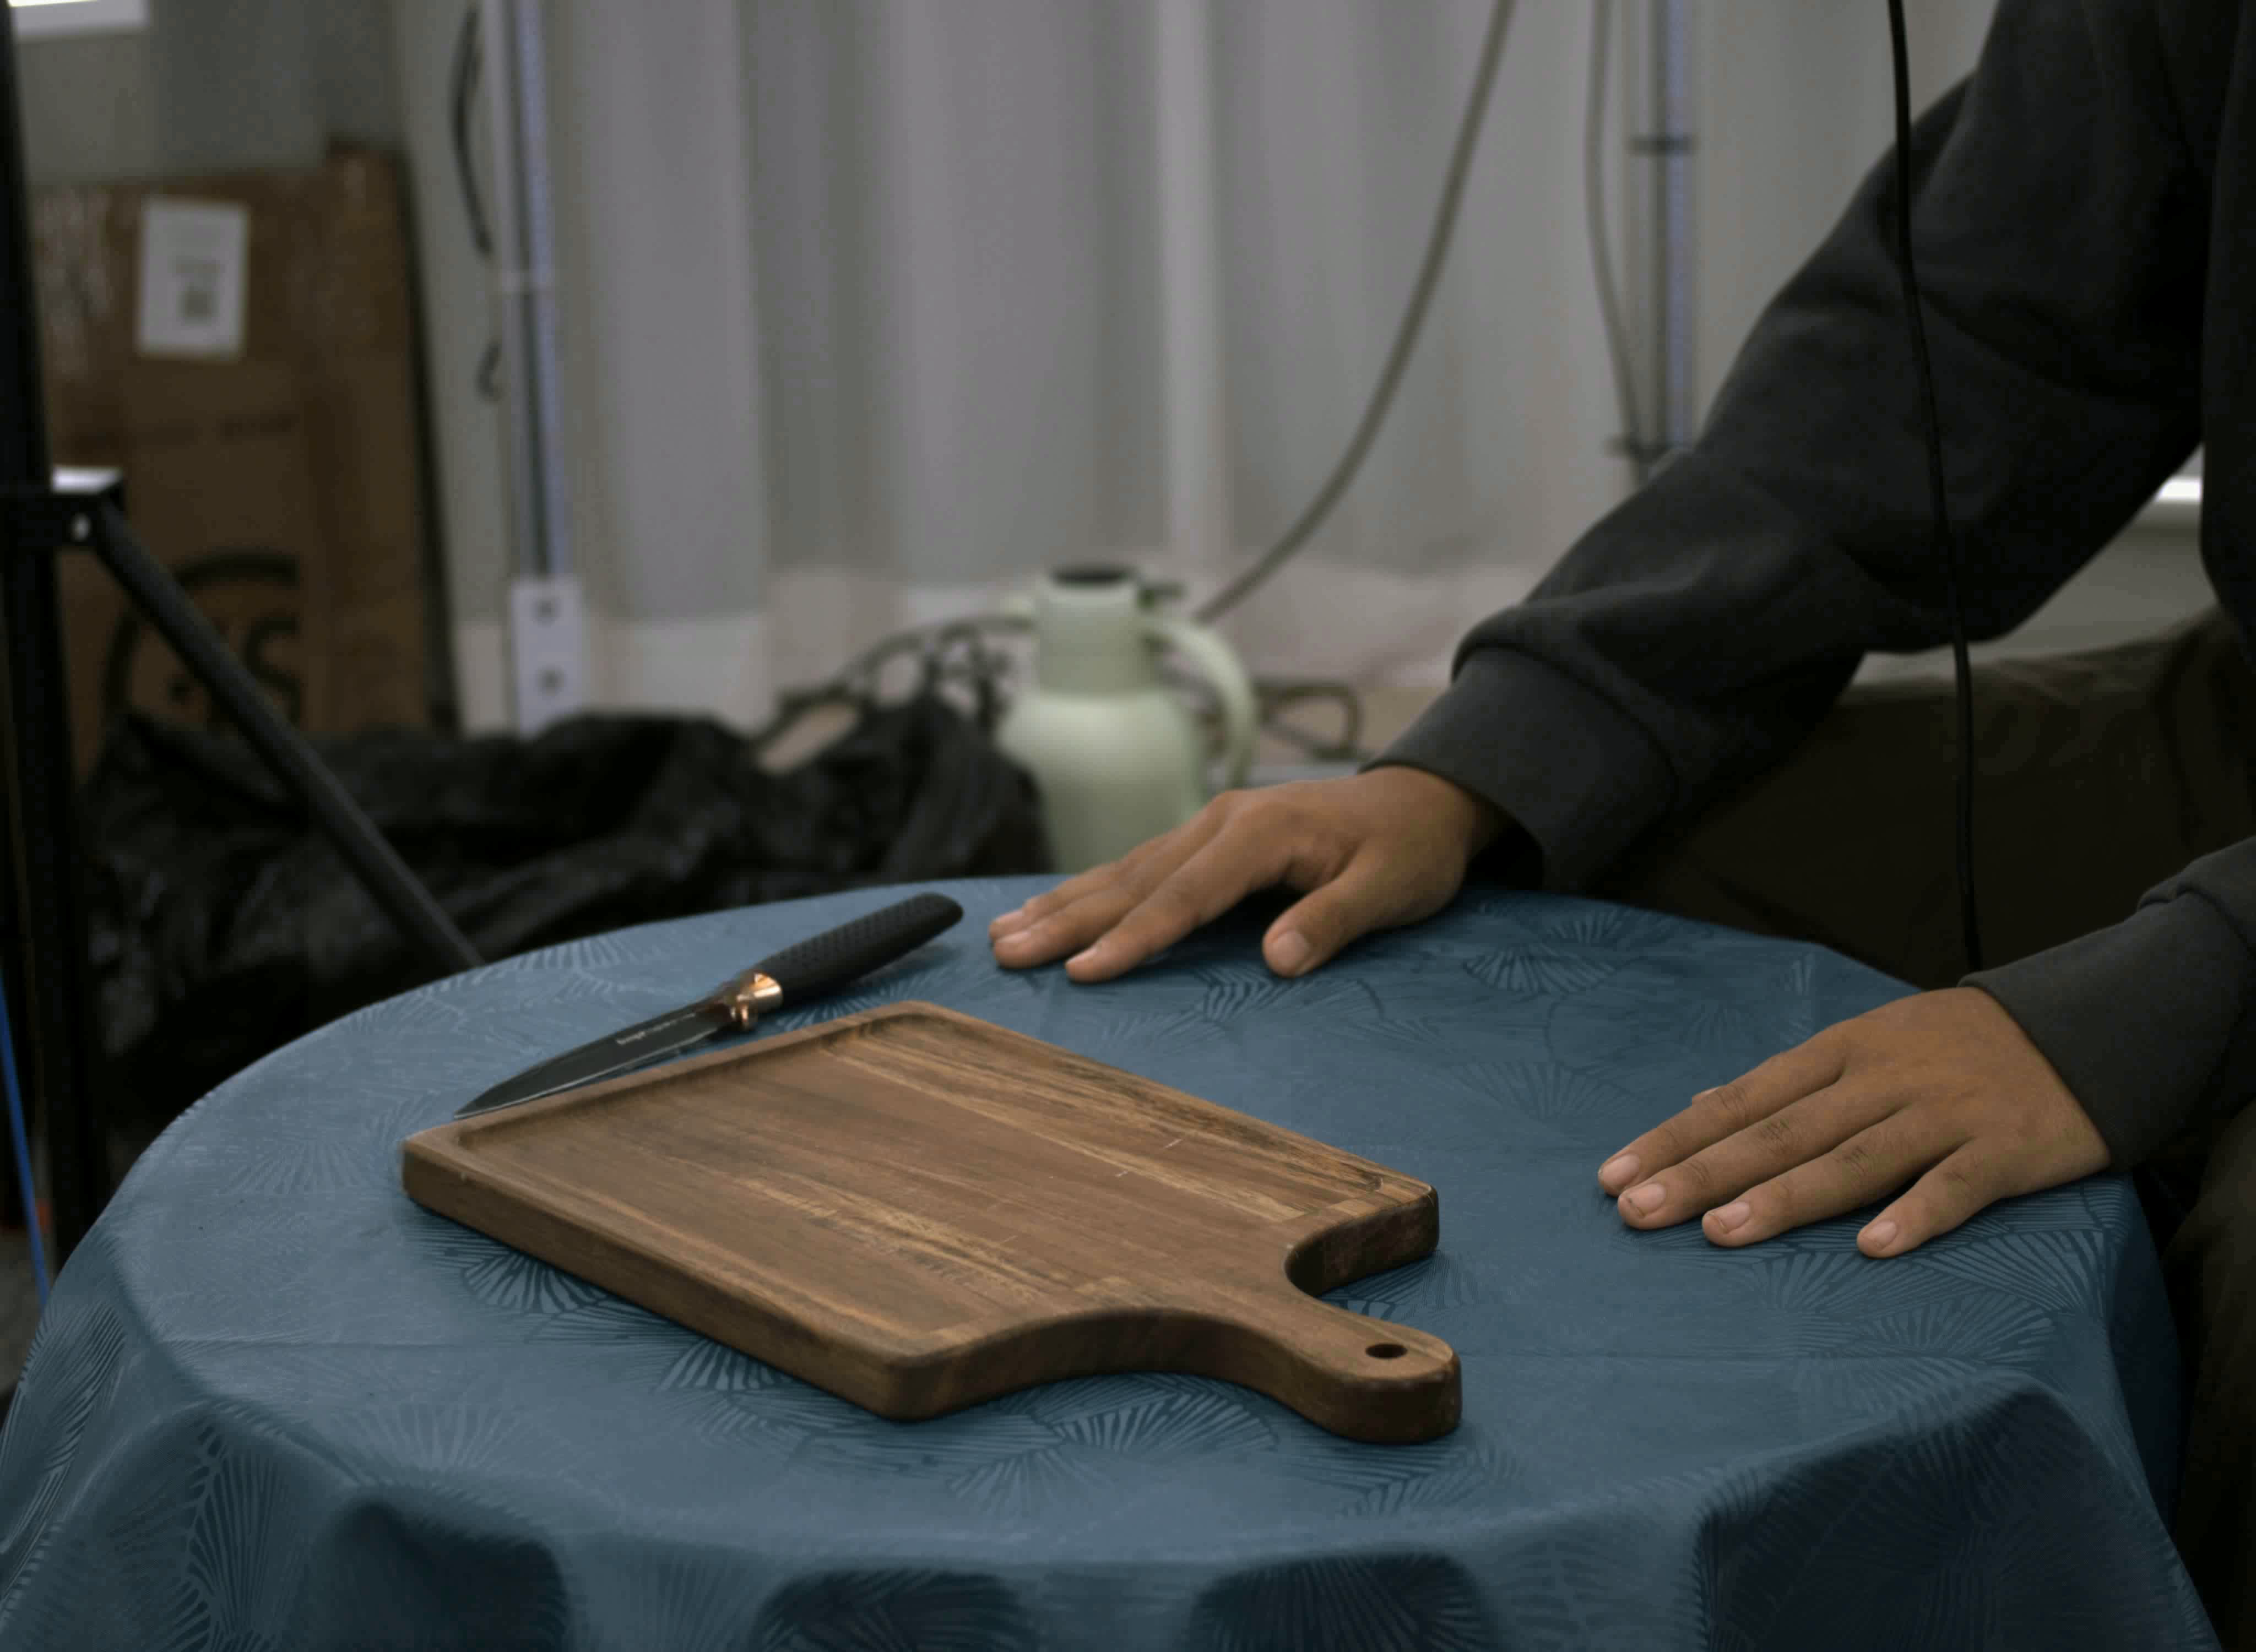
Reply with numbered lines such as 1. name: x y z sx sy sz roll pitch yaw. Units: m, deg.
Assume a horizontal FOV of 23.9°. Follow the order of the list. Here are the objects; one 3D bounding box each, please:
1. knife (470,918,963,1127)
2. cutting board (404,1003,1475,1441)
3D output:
1. knife: -0.132 0.063 1.717 0.027 0.017 0.220 20 27 38
2. cutting board: -0.030 0.116 1.497 0.196 0.023 0.360 -15 20 -36
